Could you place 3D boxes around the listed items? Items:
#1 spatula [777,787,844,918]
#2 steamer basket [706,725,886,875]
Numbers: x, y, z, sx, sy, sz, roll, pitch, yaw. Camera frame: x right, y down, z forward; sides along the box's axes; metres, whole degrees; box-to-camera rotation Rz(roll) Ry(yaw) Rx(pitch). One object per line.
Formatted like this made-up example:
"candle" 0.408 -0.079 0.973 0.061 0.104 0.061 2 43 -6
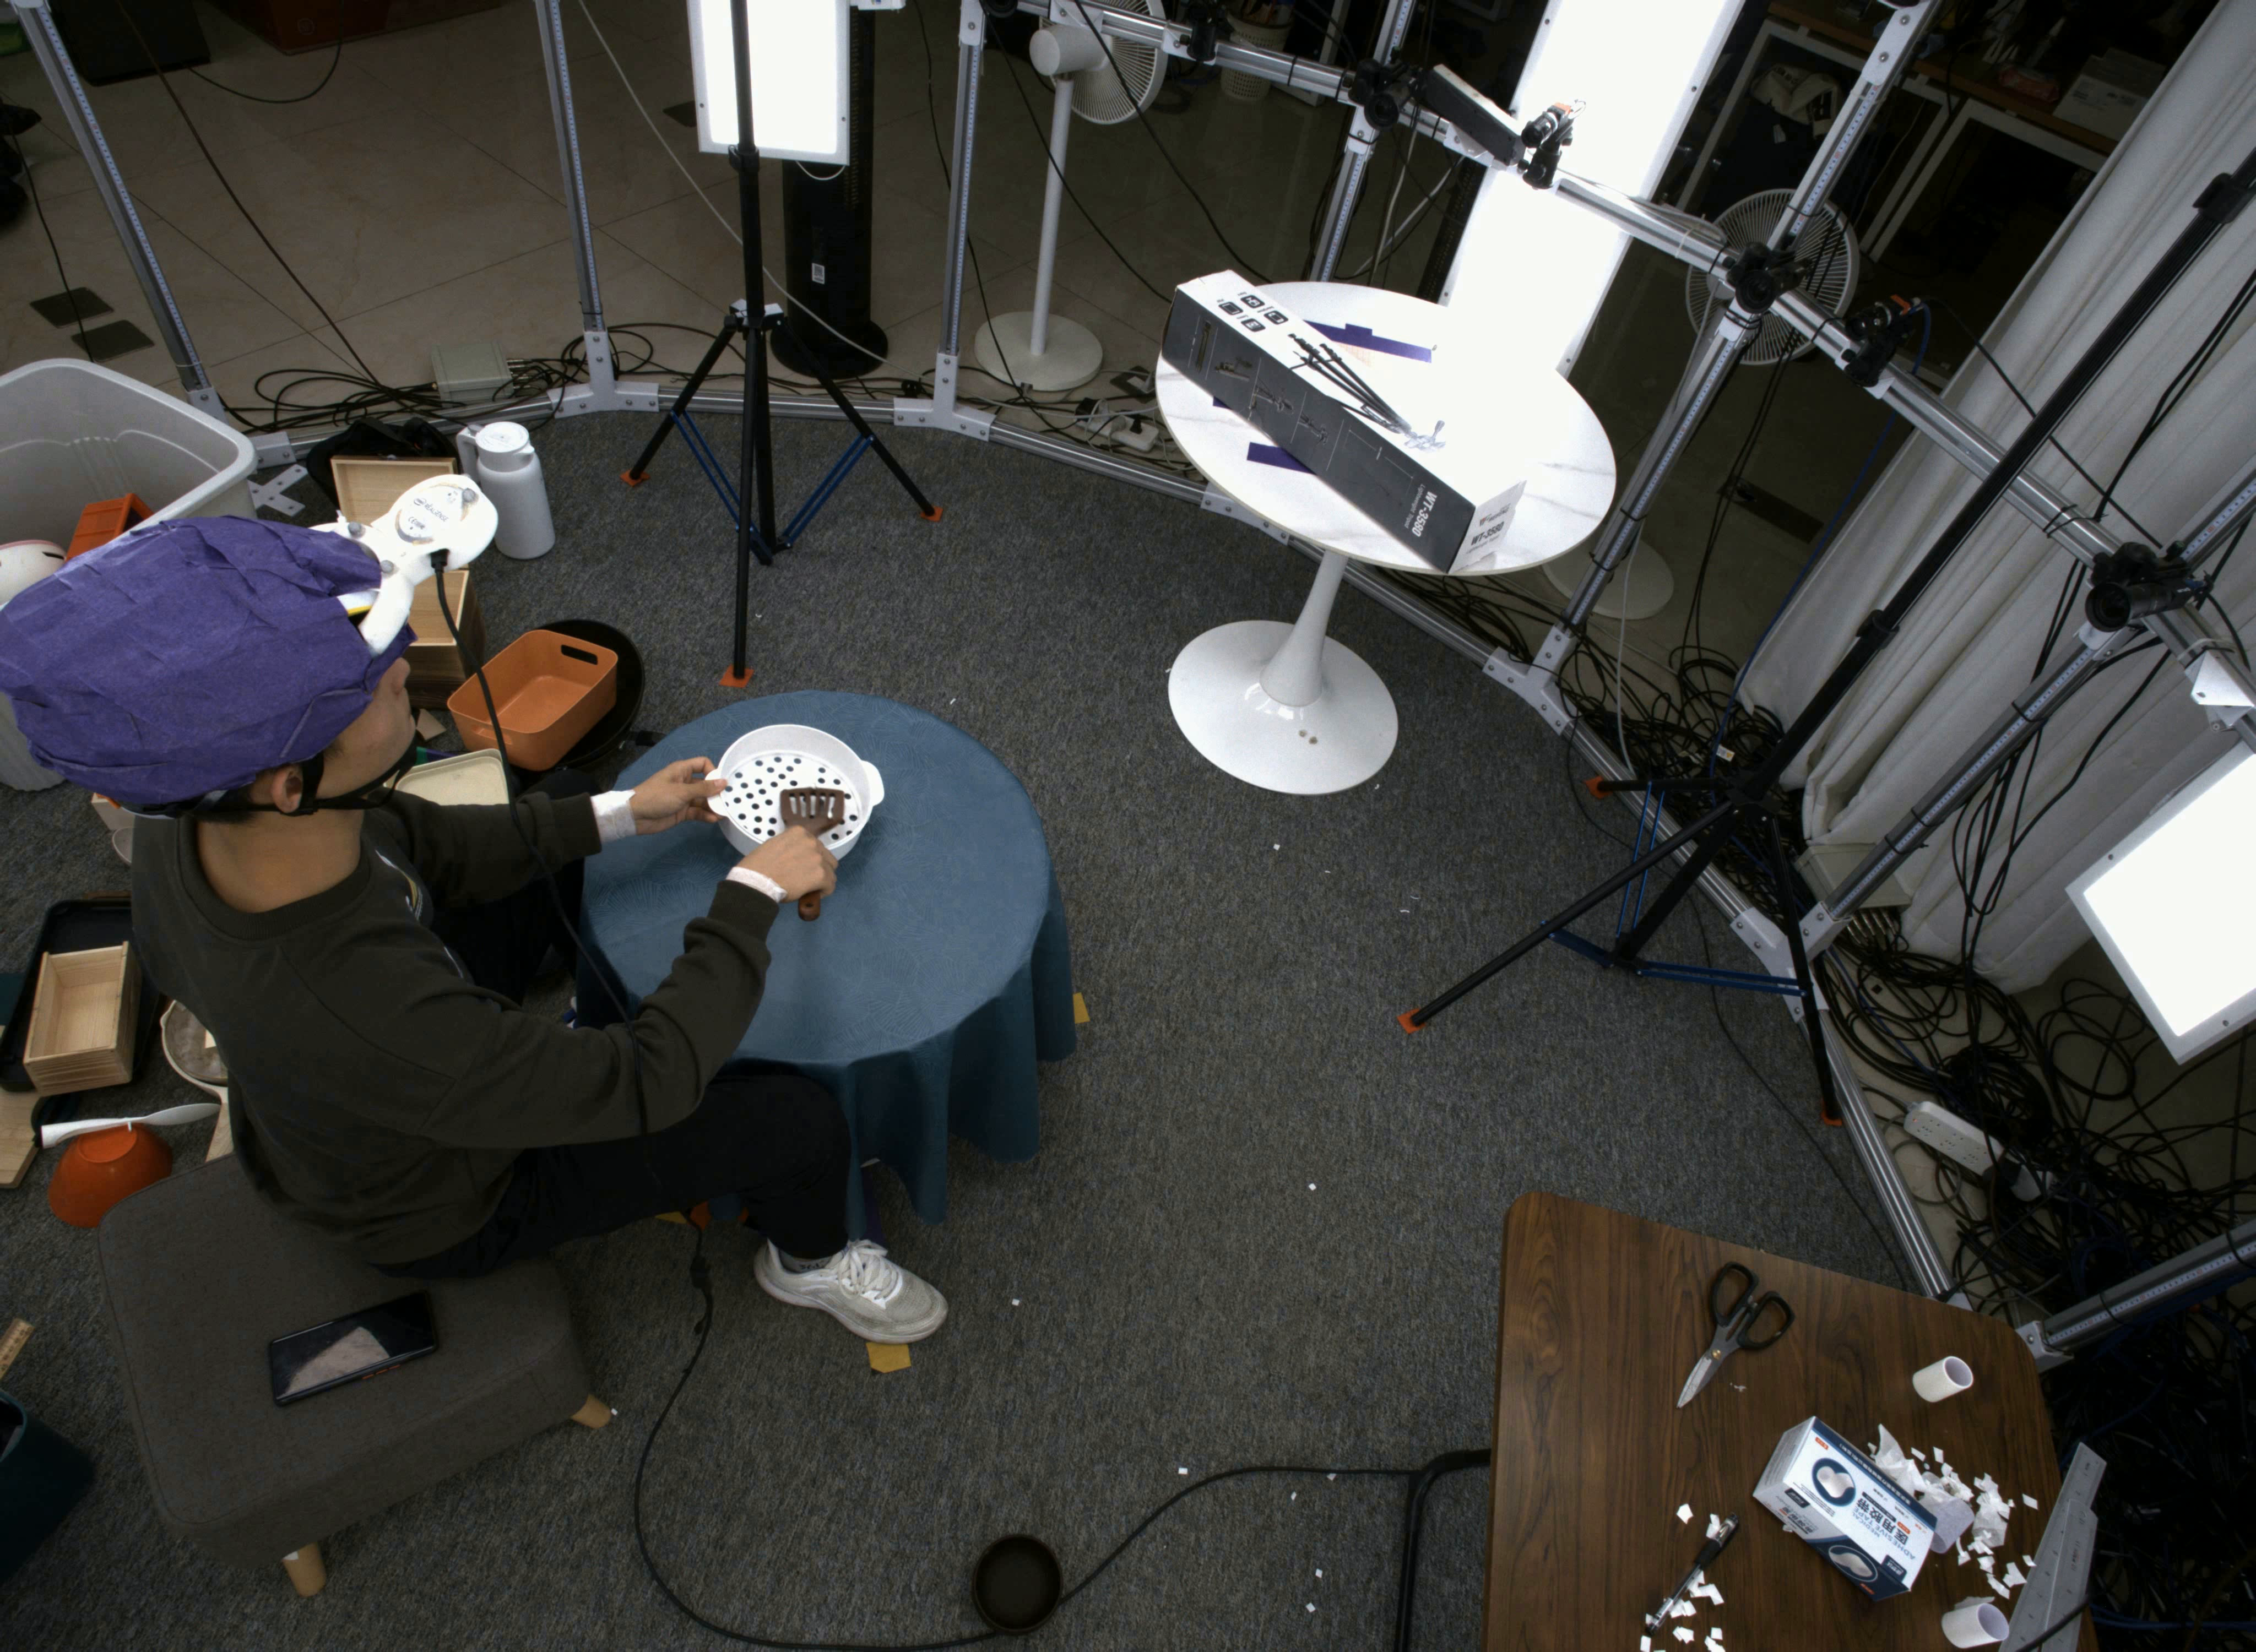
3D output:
"spatula" -0.381 0.025 1.553 0.086 0.024 0.374 1 21 -14
"steamer basket" -0.436 -0.034 1.702 0.232 0.070 0.198 -7 61 -26
